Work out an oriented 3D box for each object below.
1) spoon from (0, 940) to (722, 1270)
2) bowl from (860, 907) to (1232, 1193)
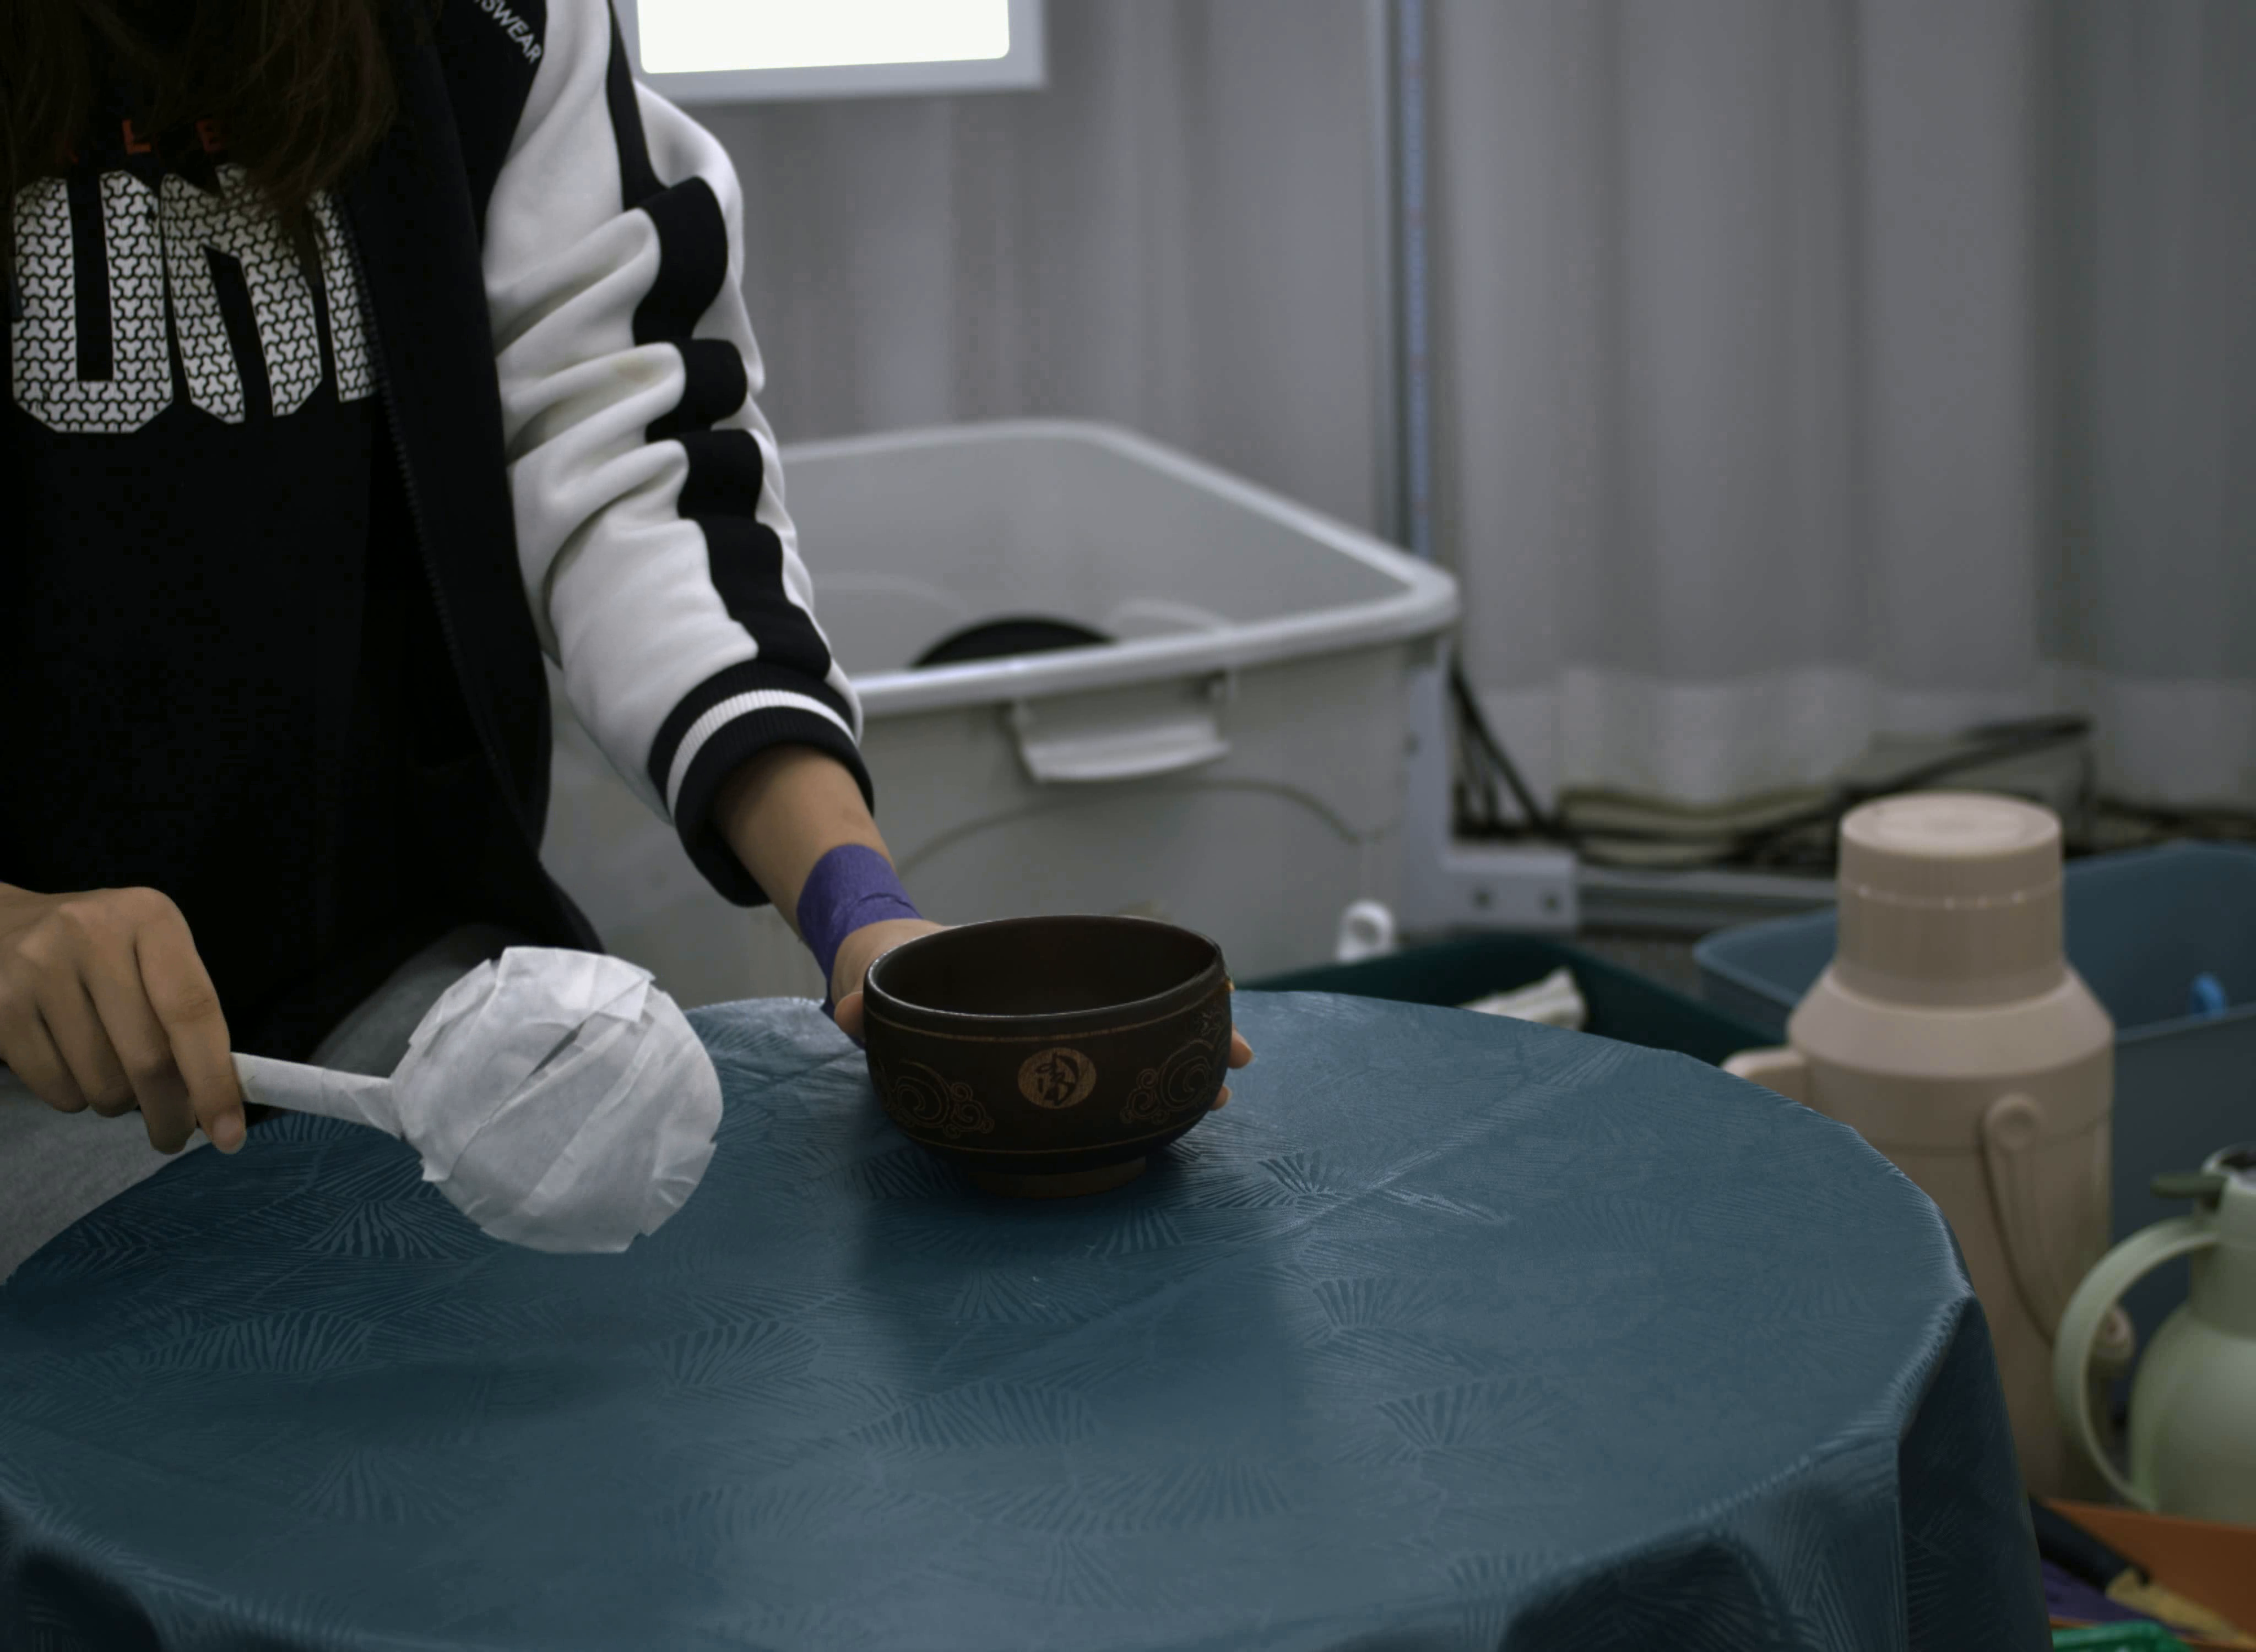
[{"bbox_3d":[-0.238,0.078,1.656,0.278,0.100,0.059,4,11,43],"label":"spoon"},{"bbox_3d":[-0.025,0.075,1.729,0.117,0.069,0.119,-2,14,0],"label":"bowl"}]
